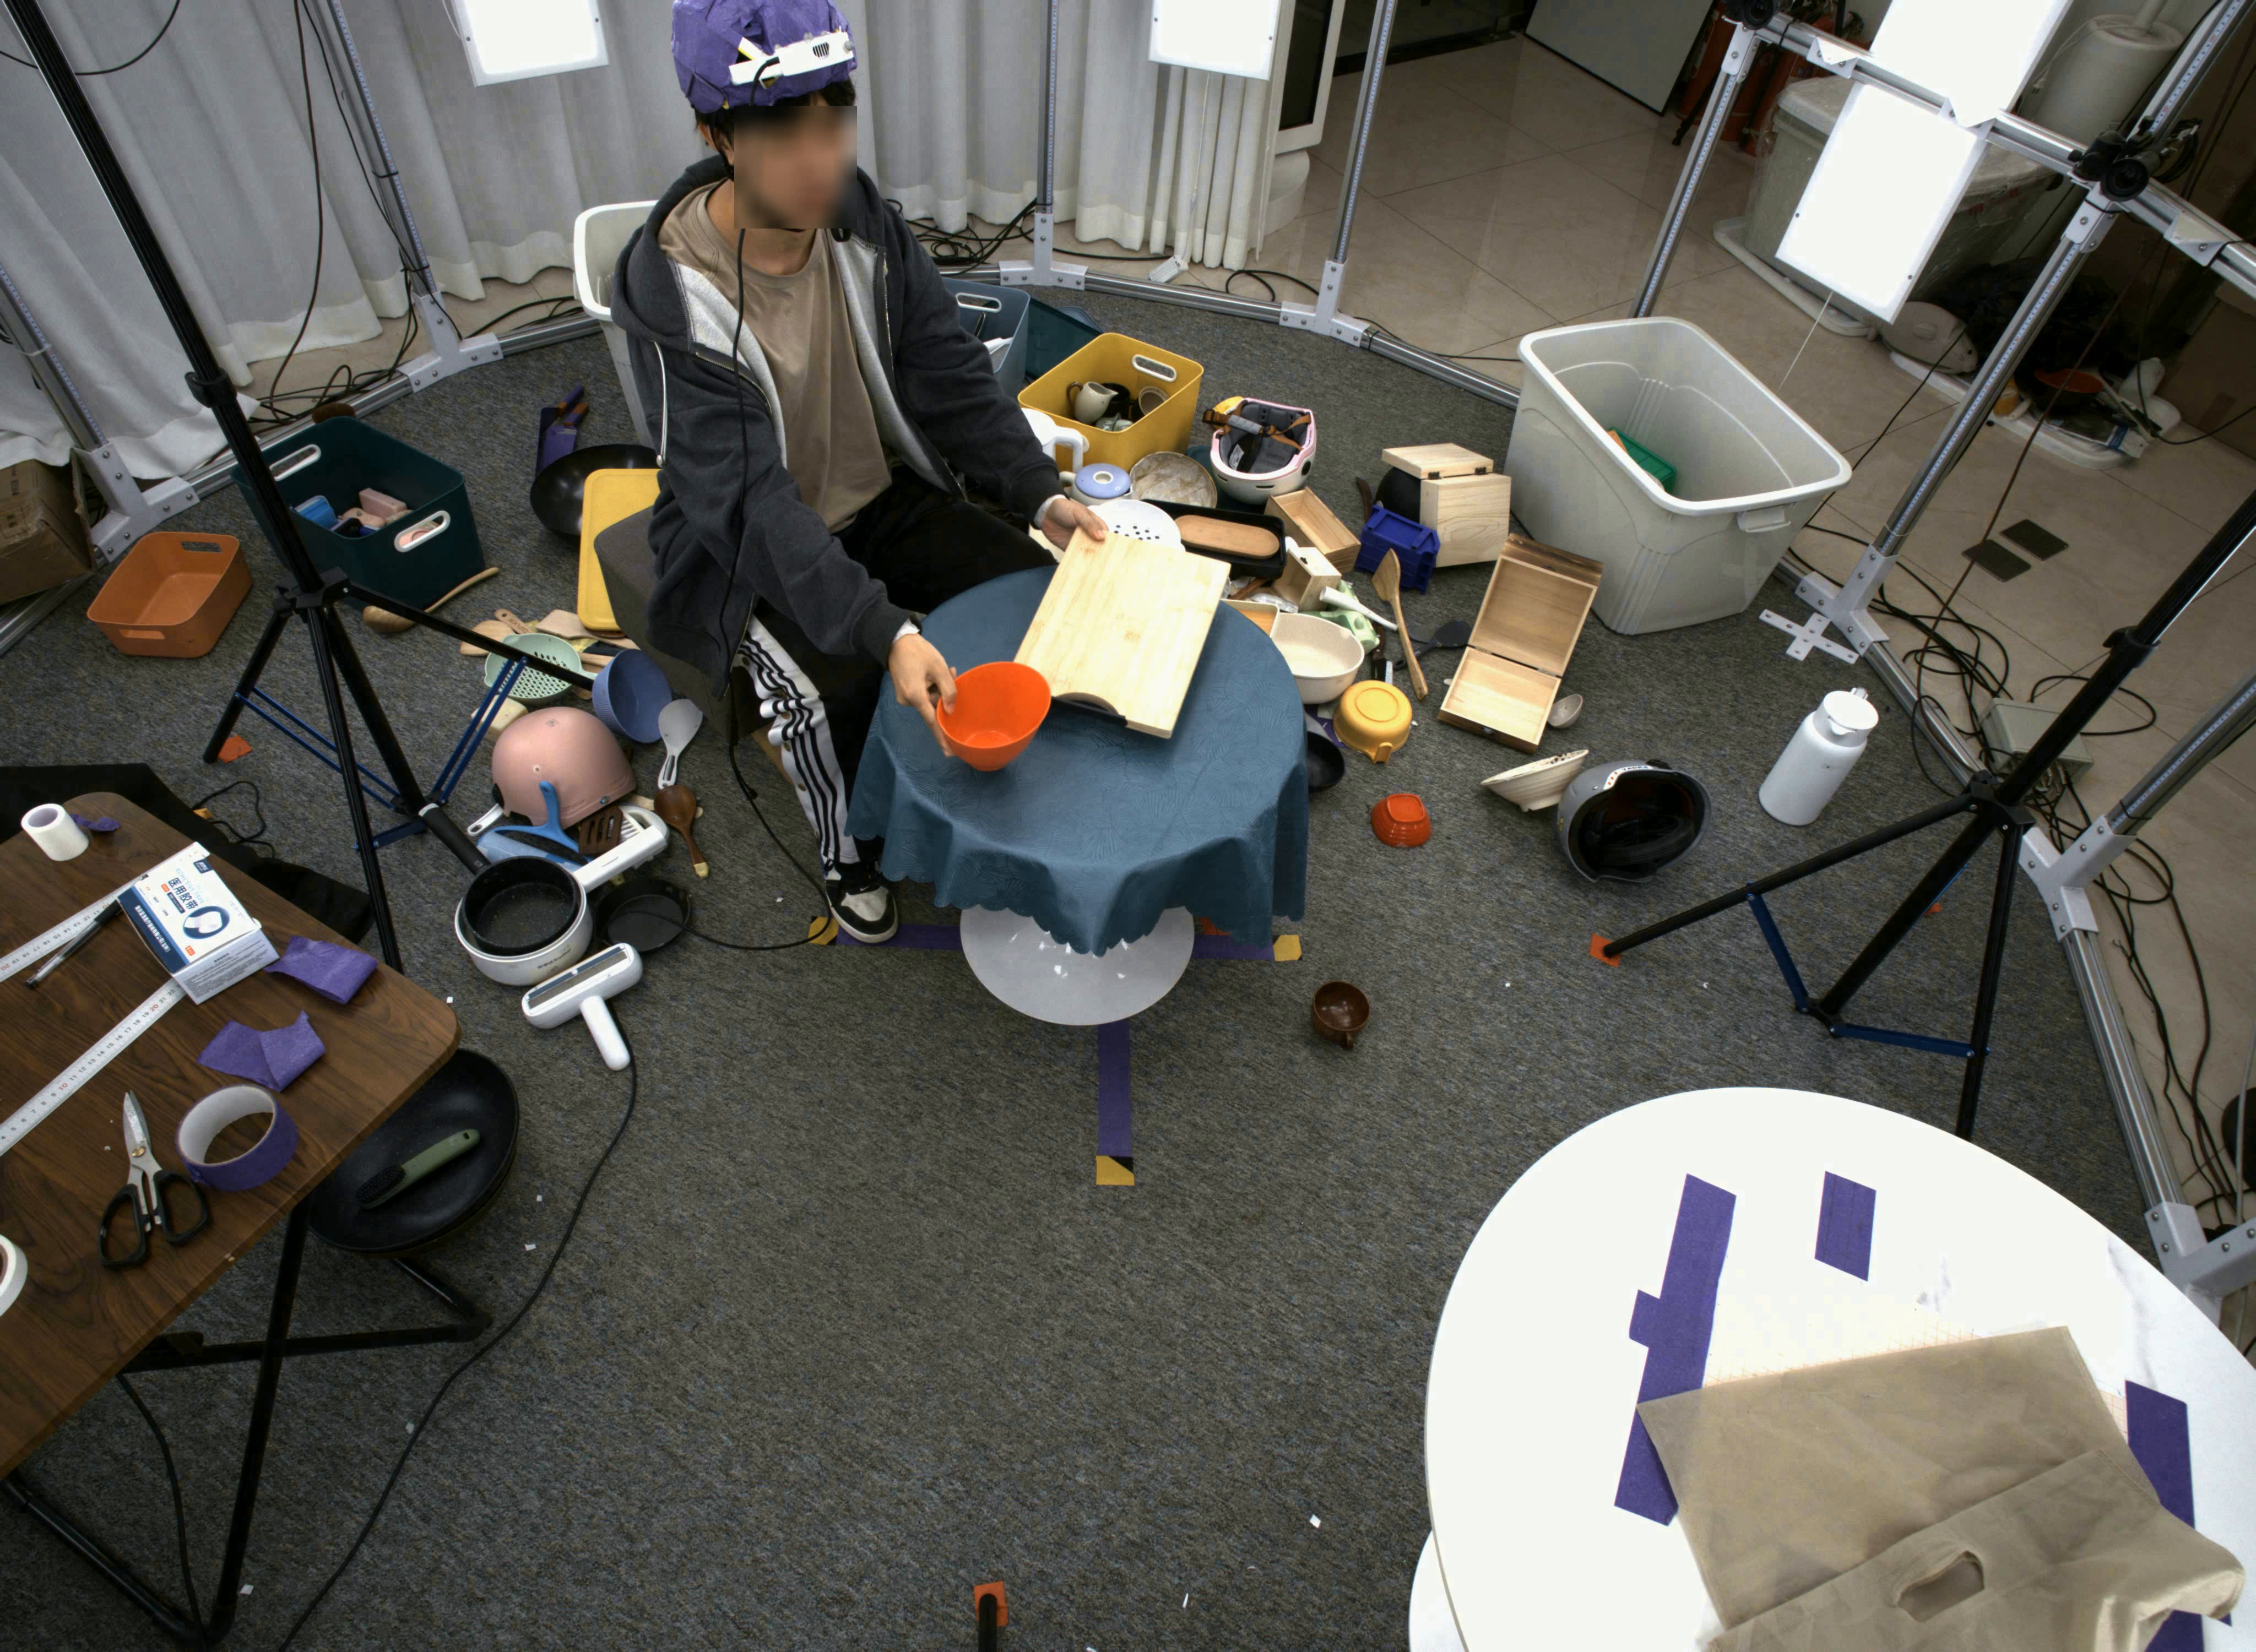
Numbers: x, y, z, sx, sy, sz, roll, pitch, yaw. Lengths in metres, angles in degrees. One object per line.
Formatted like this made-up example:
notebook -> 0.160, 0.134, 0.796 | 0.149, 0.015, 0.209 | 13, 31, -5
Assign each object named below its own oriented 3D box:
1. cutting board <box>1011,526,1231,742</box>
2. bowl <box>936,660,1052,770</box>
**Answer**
cutting board -> -0.012, -0.283, 1.837 | 0.251, 0.023, 0.356 | 15, 54, 7
bowl -> -0.173, -0.132, 1.668 | 0.148, 0.102, 0.151 | 2, 52, -2
